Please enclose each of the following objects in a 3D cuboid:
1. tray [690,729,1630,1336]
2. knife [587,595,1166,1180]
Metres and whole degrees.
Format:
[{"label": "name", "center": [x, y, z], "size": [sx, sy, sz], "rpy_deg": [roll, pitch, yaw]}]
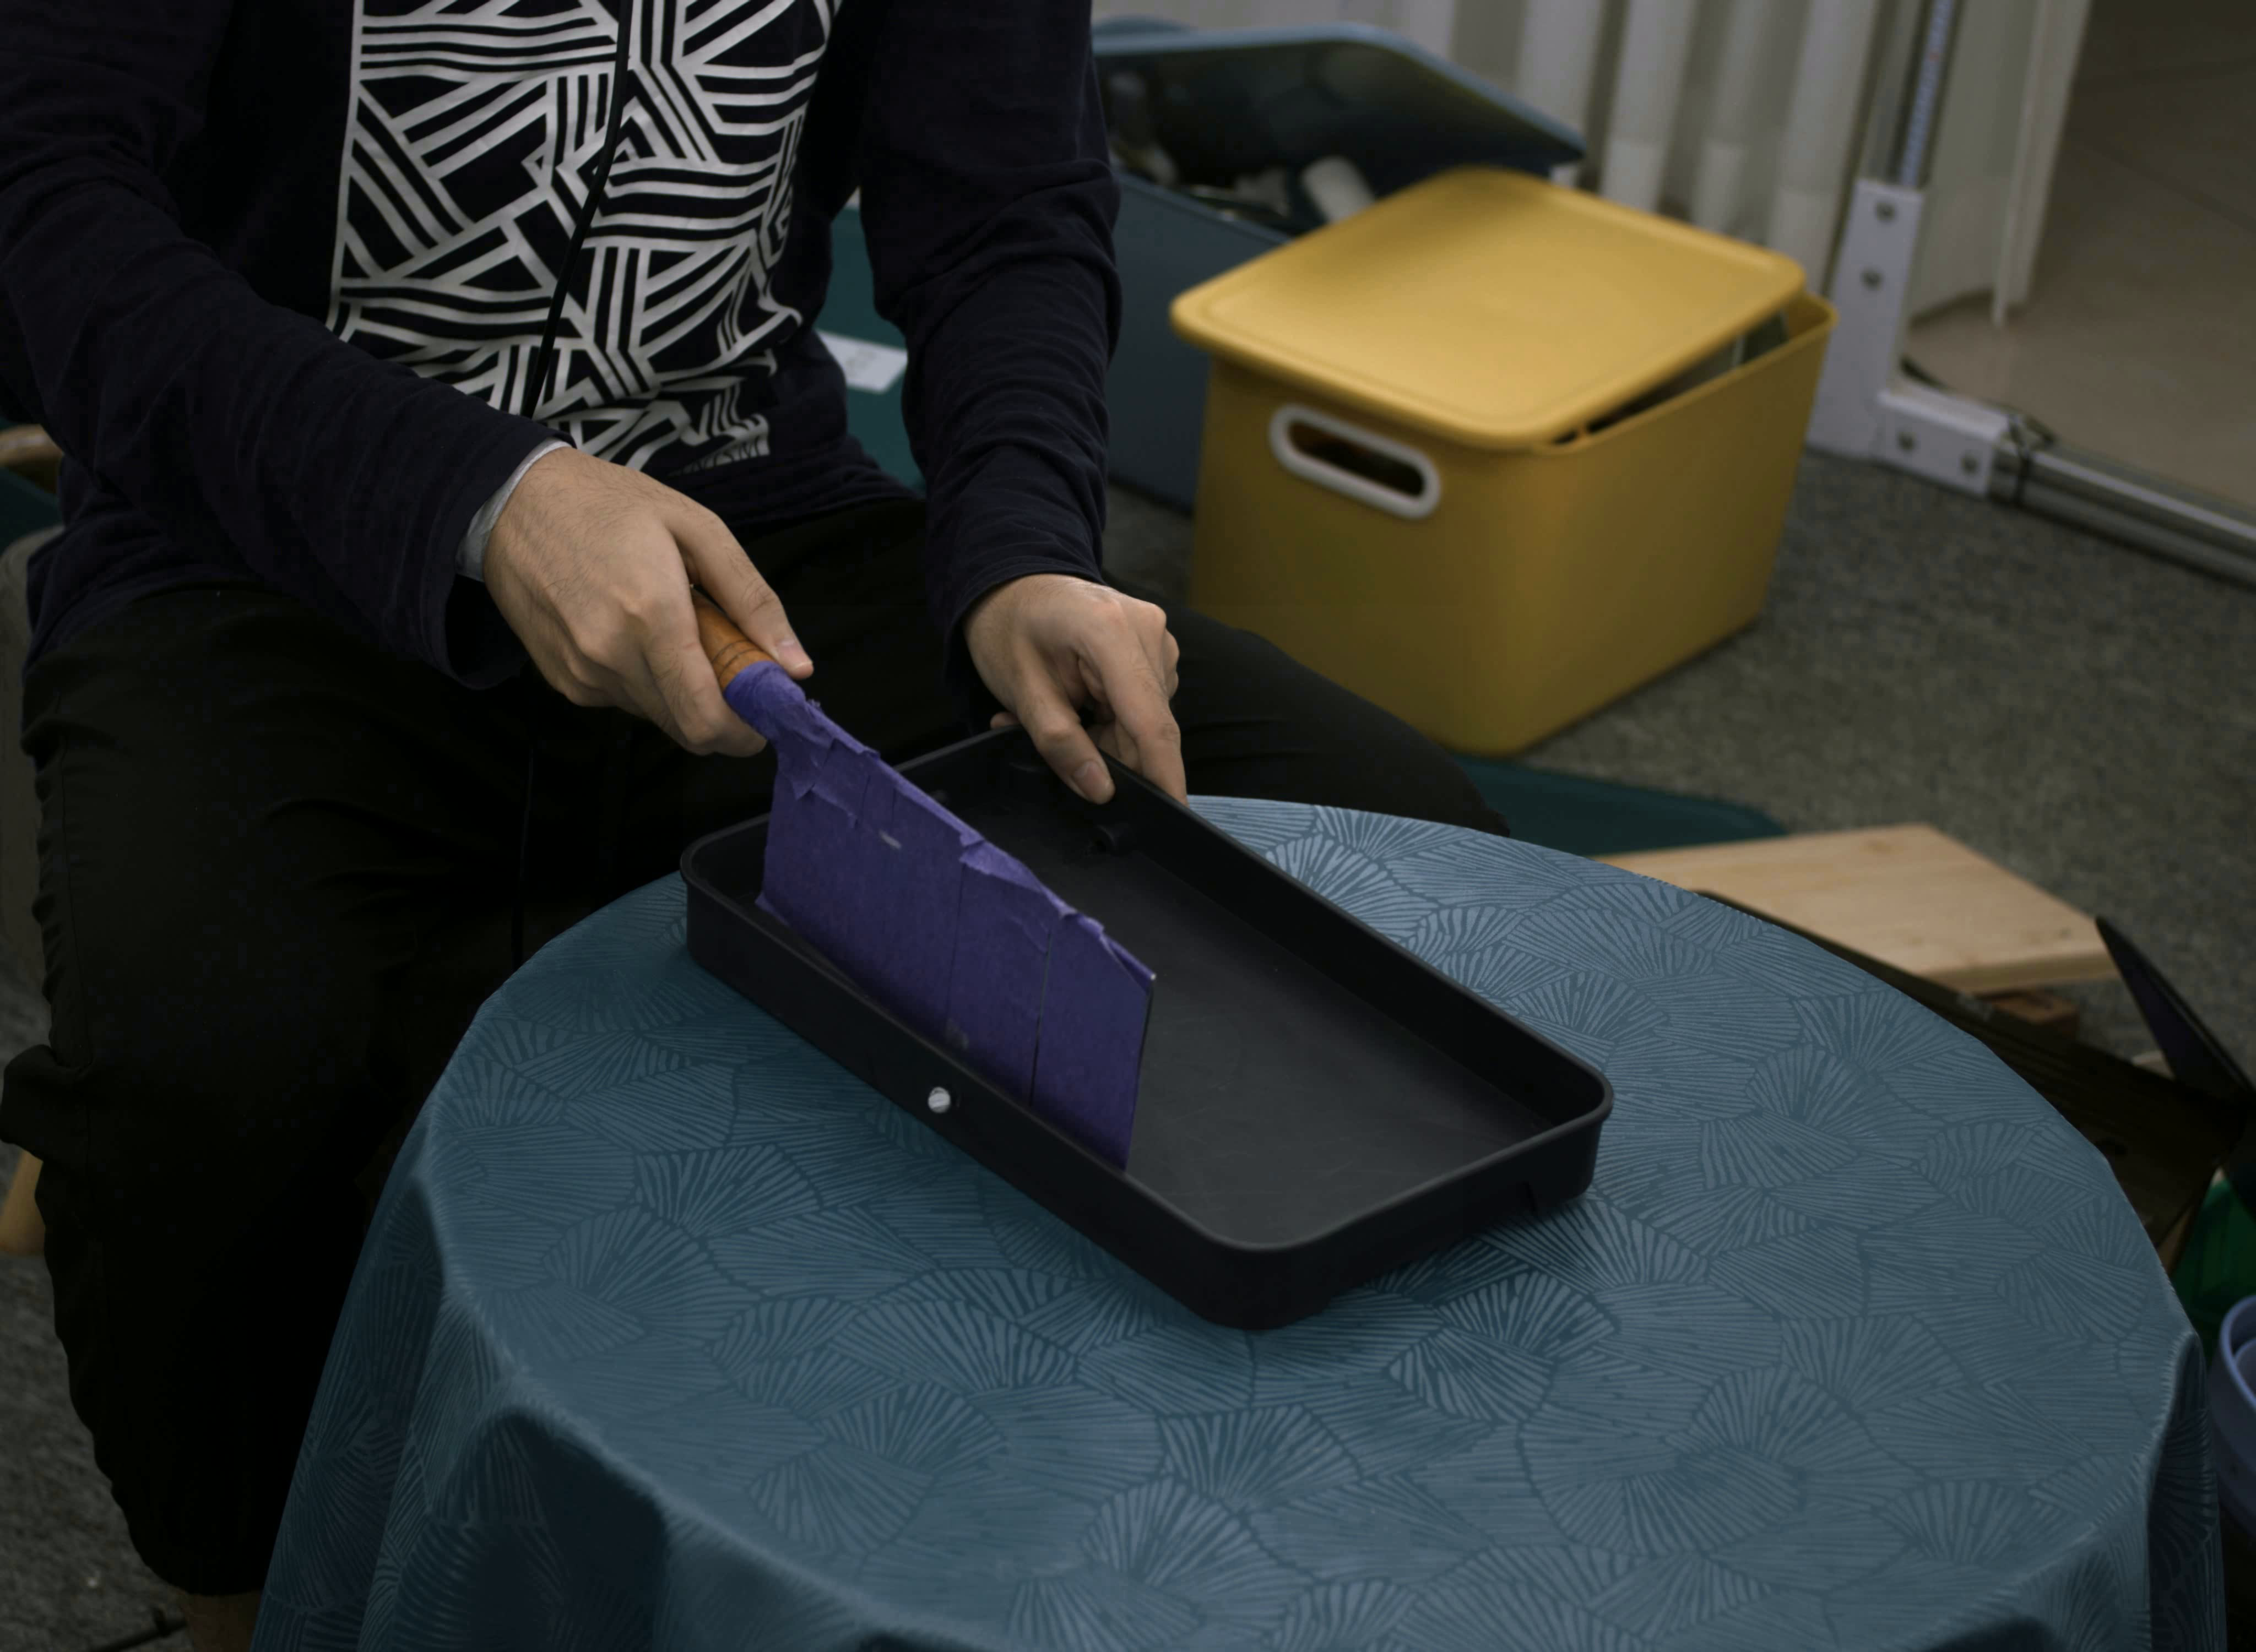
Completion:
[{"label": "tray", "center": [0.006, 0.066, 1.866], "size": [0.183, 0.037, 0.320], "rpy_deg": [-21, 39, -37]}, {"label": "knife", "center": [-0.099, 0.020, 1.846], "size": [0.032, 0.104, 0.318], "rpy_deg": [0, 25, -42]}]
